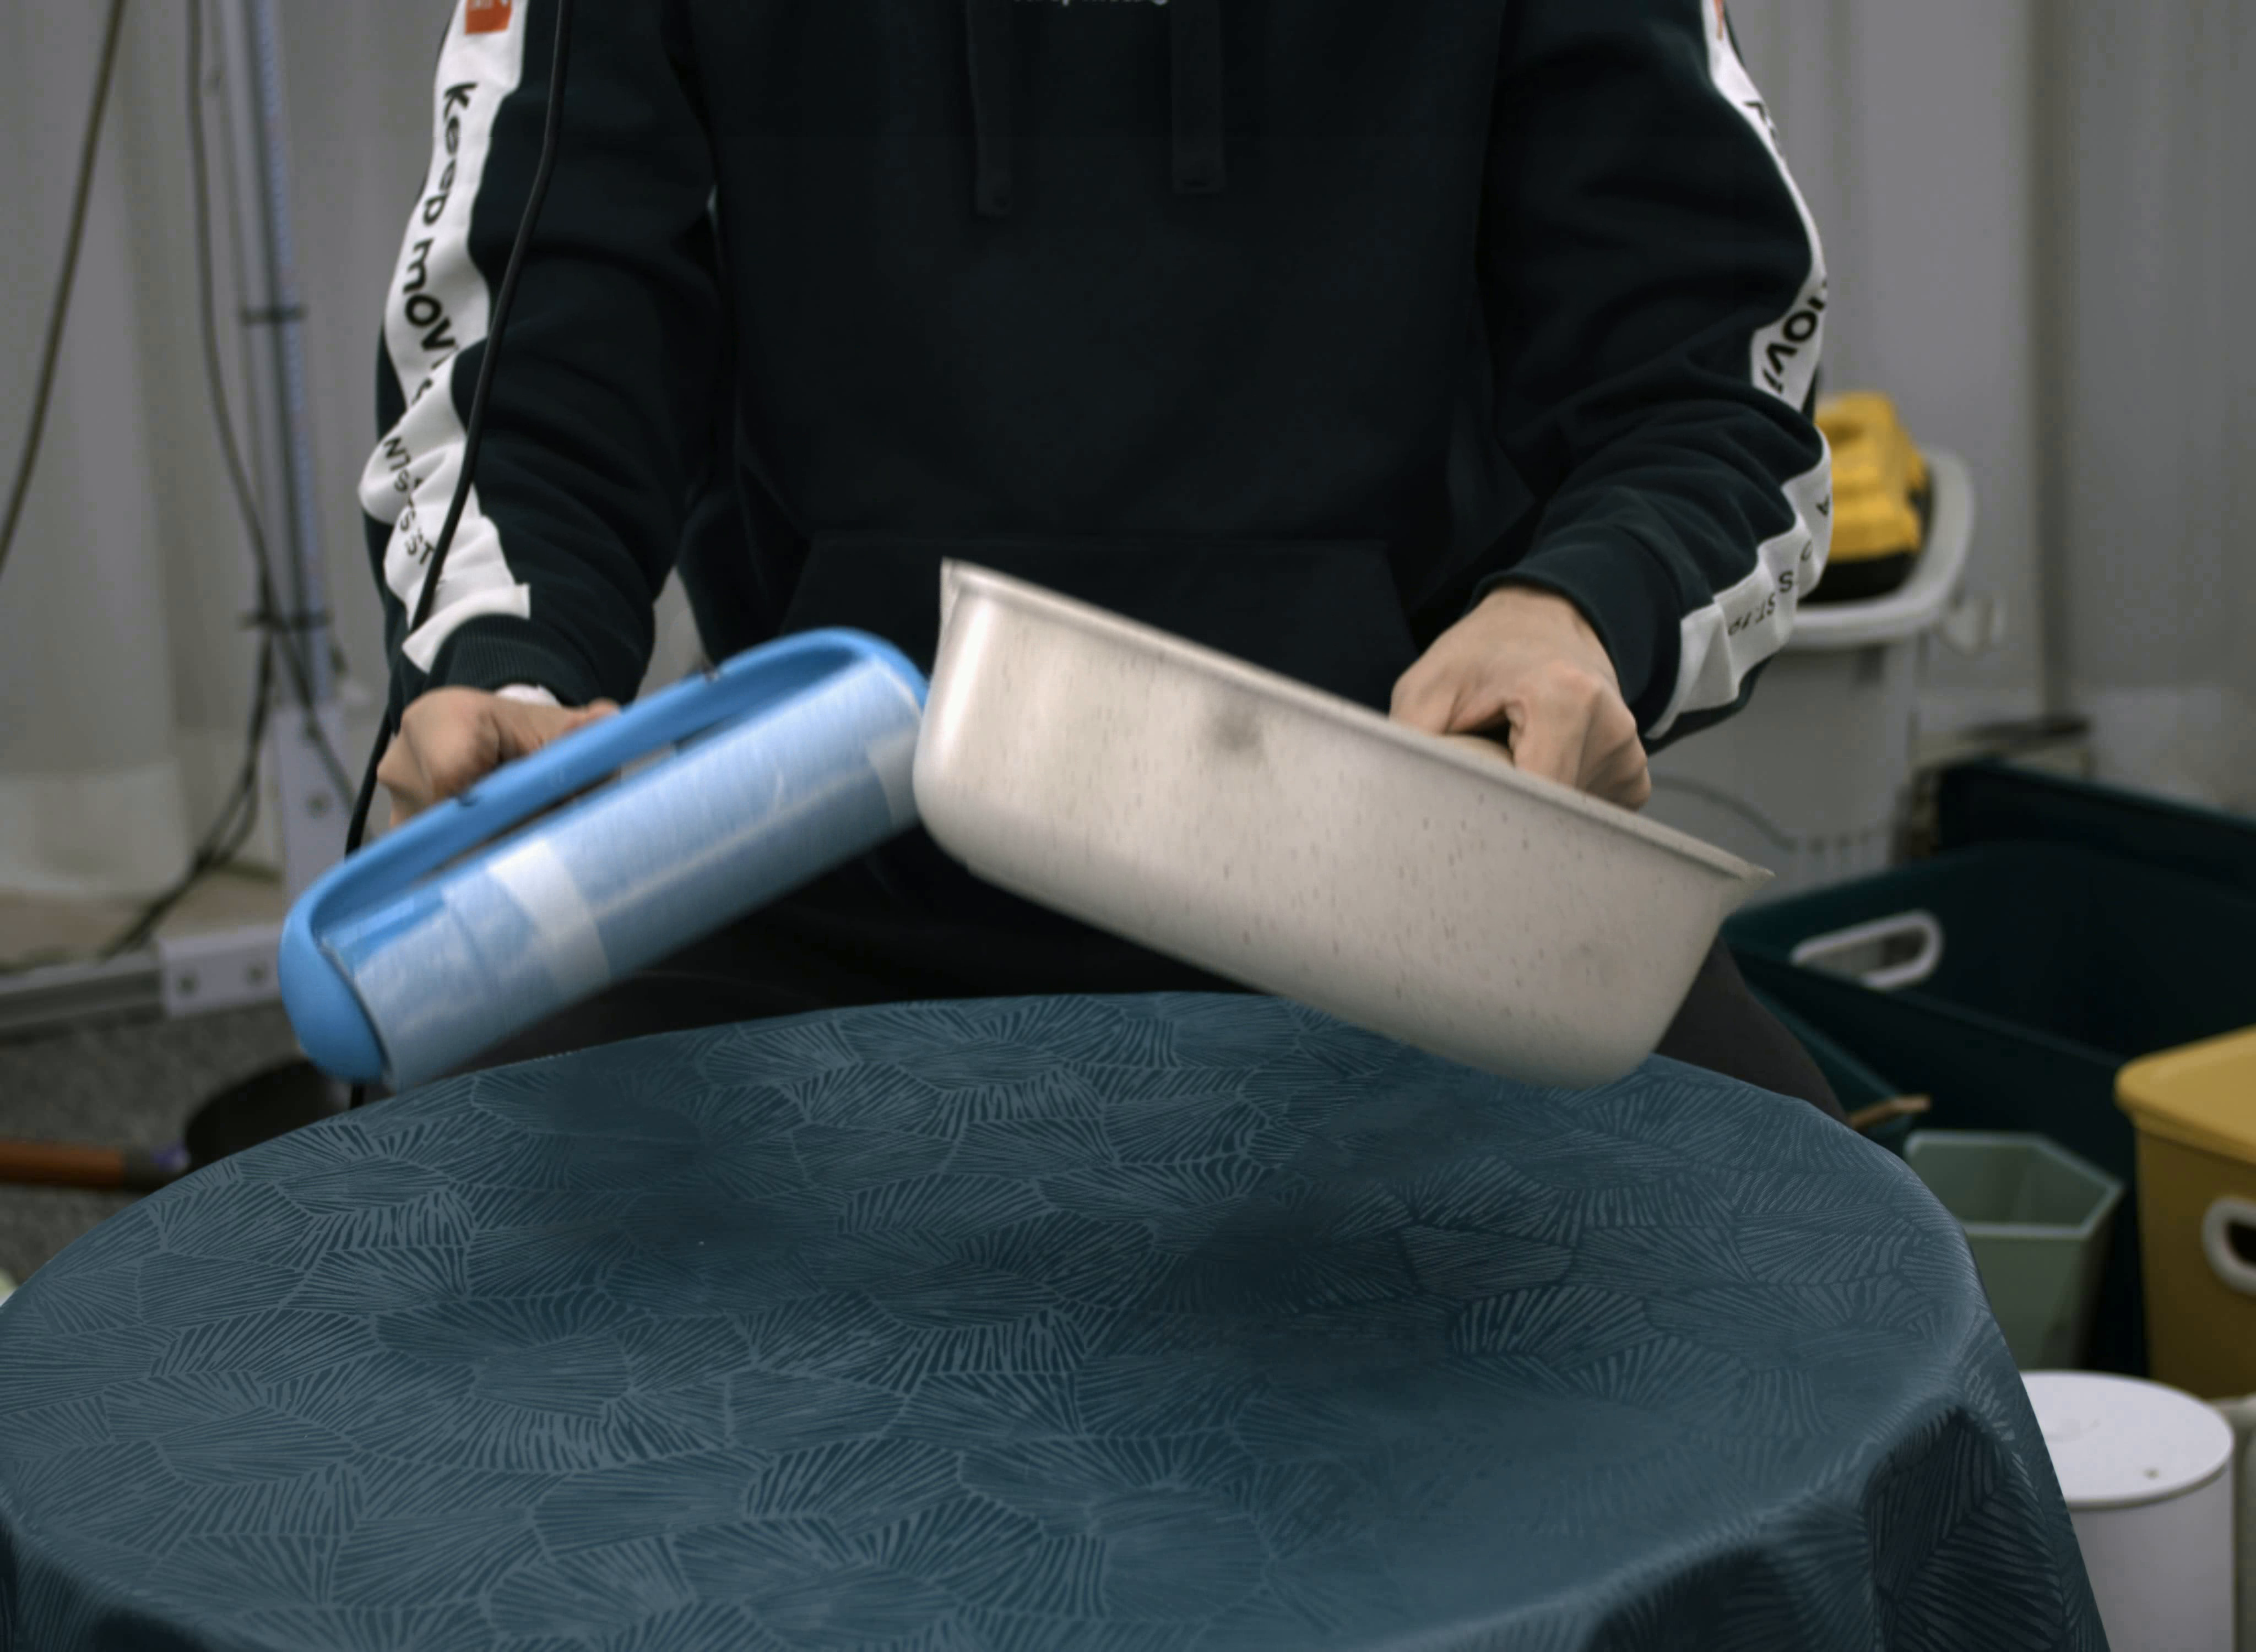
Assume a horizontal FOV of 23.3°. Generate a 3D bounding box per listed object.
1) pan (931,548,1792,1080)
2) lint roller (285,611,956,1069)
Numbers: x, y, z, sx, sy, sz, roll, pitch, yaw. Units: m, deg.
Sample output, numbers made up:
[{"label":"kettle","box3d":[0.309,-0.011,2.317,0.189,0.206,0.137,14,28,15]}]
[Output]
[{"label":"pan","box3d":[0.079,0.003,1.683,0.264,0.102,0.433,21,-1,14]},{"label":"lint roller","box3d":[-0.175,0.001,1.723,0.229,0.067,0.181,-31,16,-21]}]
